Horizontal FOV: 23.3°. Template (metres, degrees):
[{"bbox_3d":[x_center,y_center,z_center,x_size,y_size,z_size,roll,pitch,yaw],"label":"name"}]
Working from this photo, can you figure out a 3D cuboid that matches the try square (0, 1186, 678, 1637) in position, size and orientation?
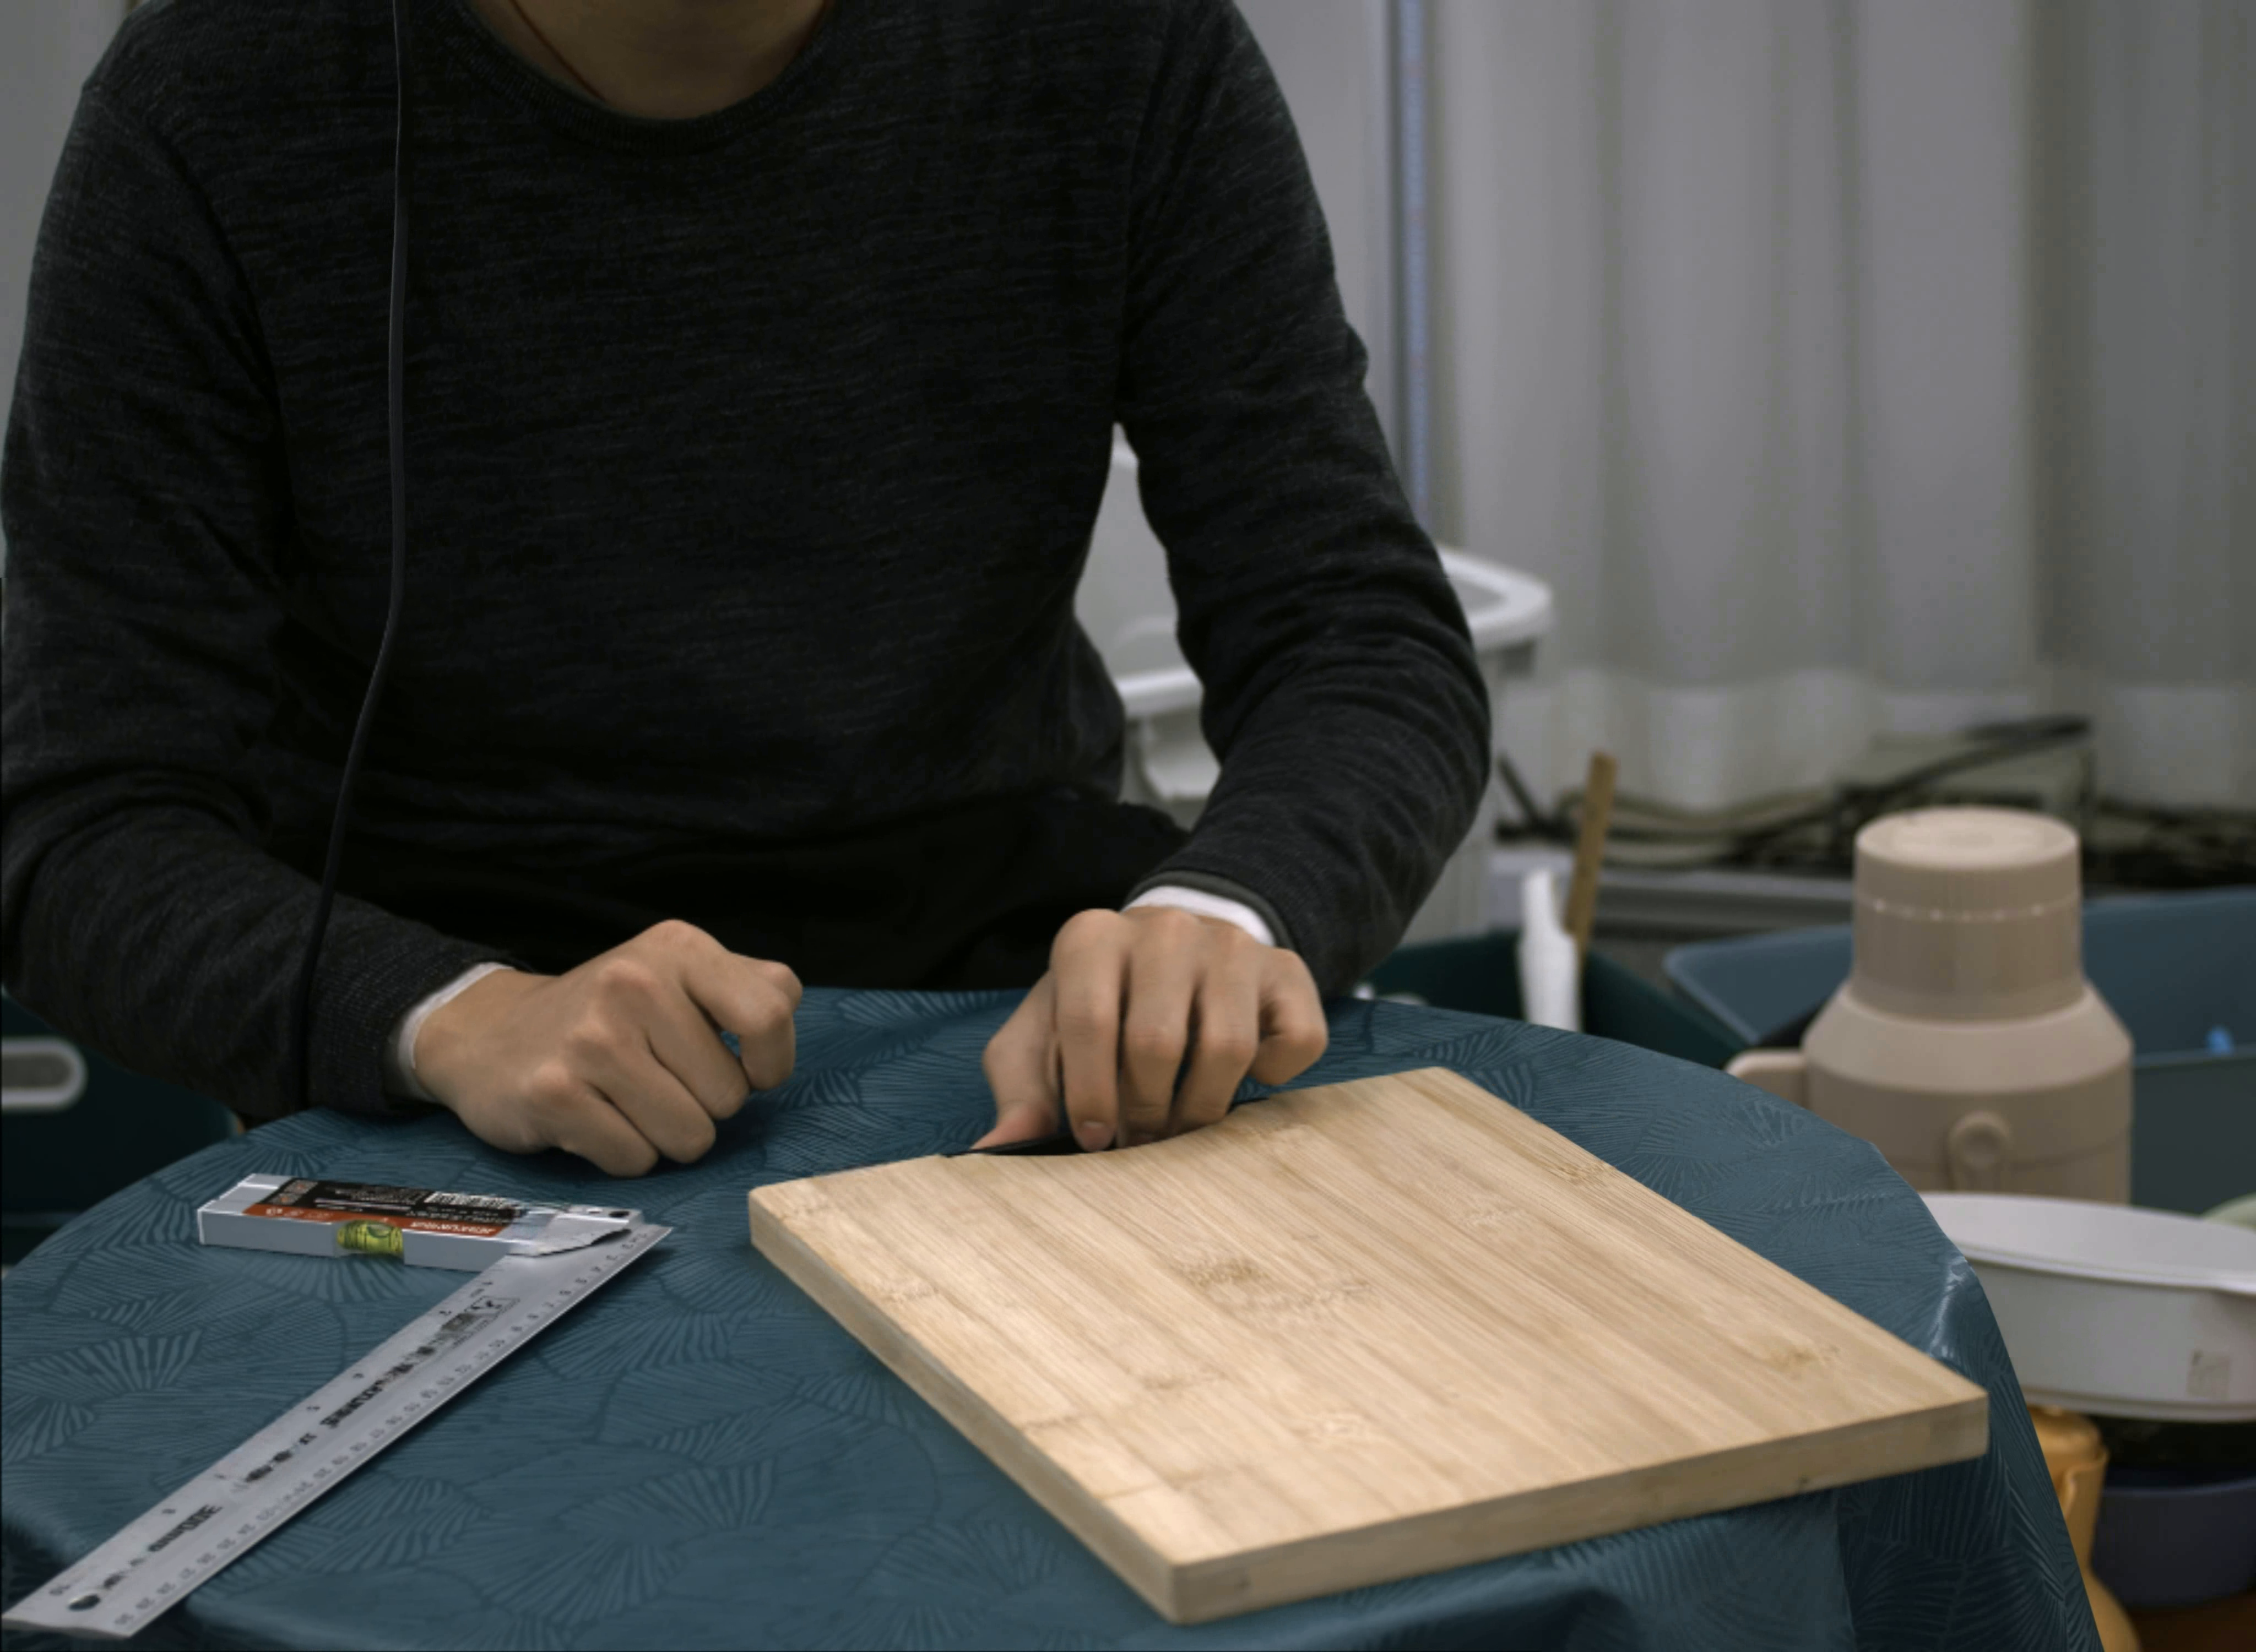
[{"bbox_3d":[-0.265,0.163,1.573,0.152,0.016,0.314,1,16,23],"label":"try square"}]

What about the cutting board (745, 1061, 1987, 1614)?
[{"bbox_3d":[0.056,0.140,1.577,0.249,0.023,0.351,-9,16,-21],"label":"cutting board"}]
